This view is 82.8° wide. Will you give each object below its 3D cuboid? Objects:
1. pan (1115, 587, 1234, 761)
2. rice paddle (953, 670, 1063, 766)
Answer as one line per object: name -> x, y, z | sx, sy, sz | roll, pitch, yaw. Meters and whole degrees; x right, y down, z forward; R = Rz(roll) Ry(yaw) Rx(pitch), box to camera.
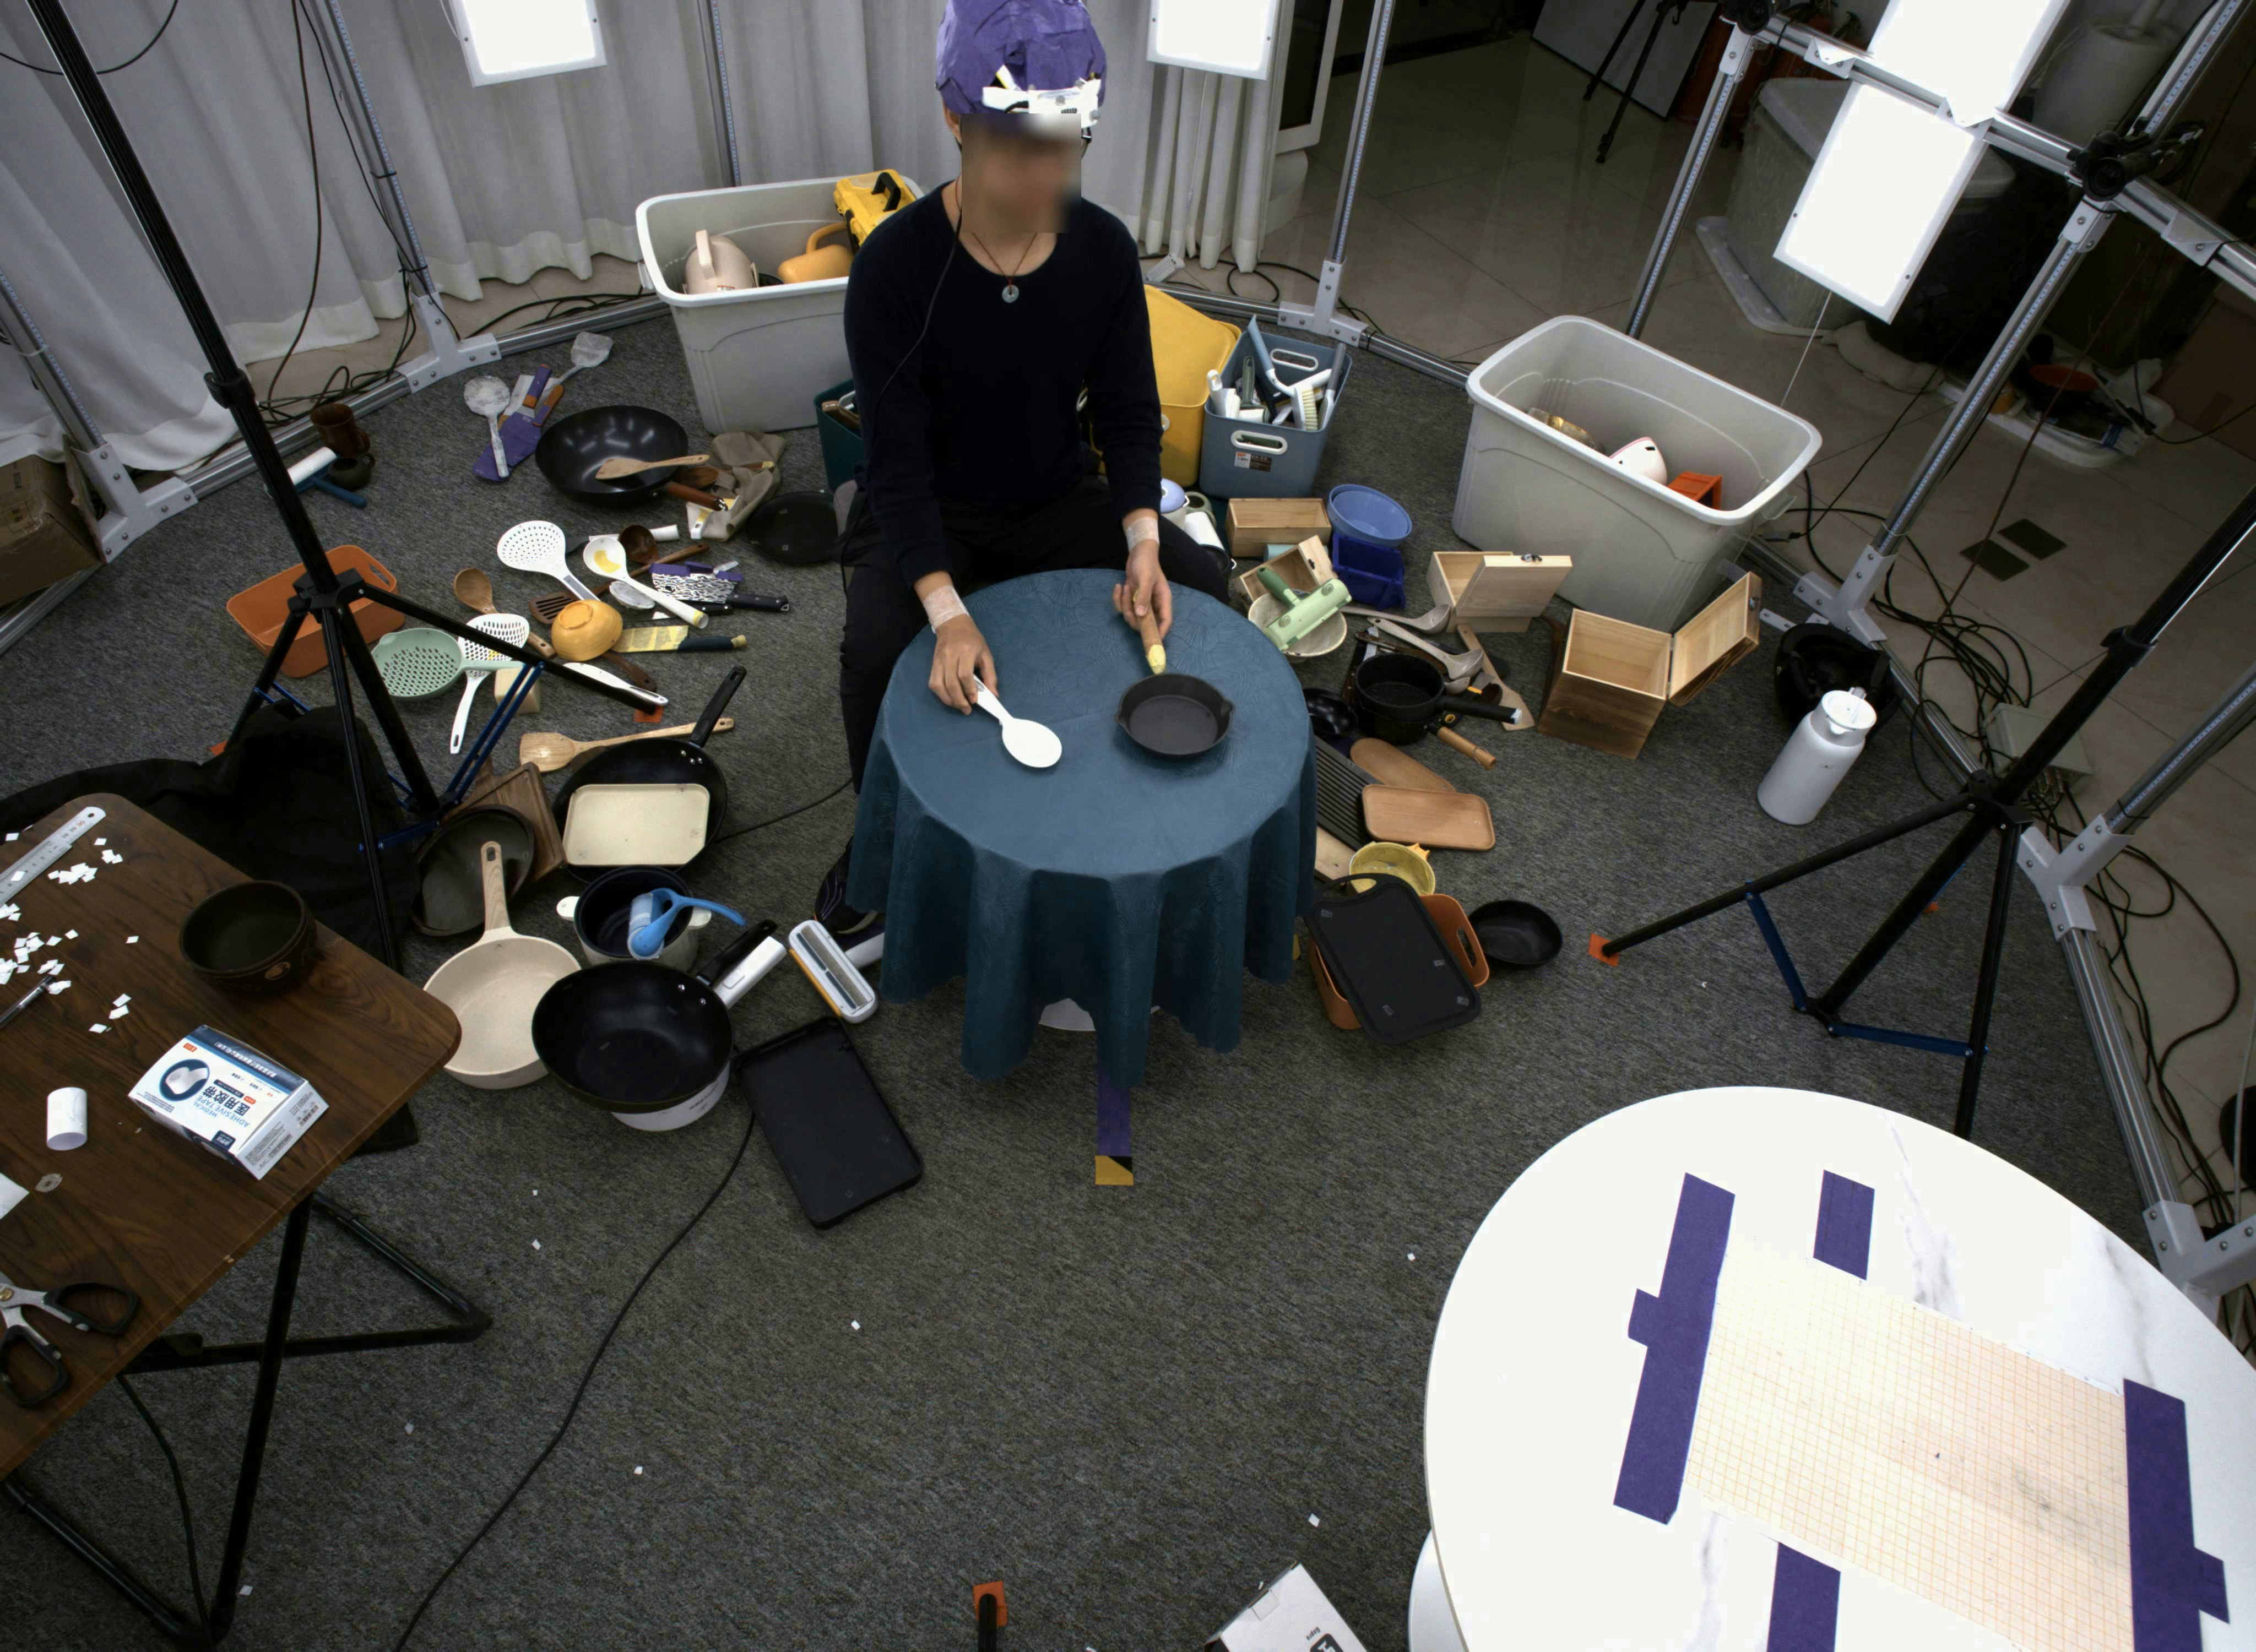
pan -> 0.050, -0.218, 1.829 | 0.169, 0.048, 0.332 | -6, 51, -9
rice paddle -> -0.166, -0.149, 1.768 | 0.069, 0.029, 0.209 | -33, 58, -25
